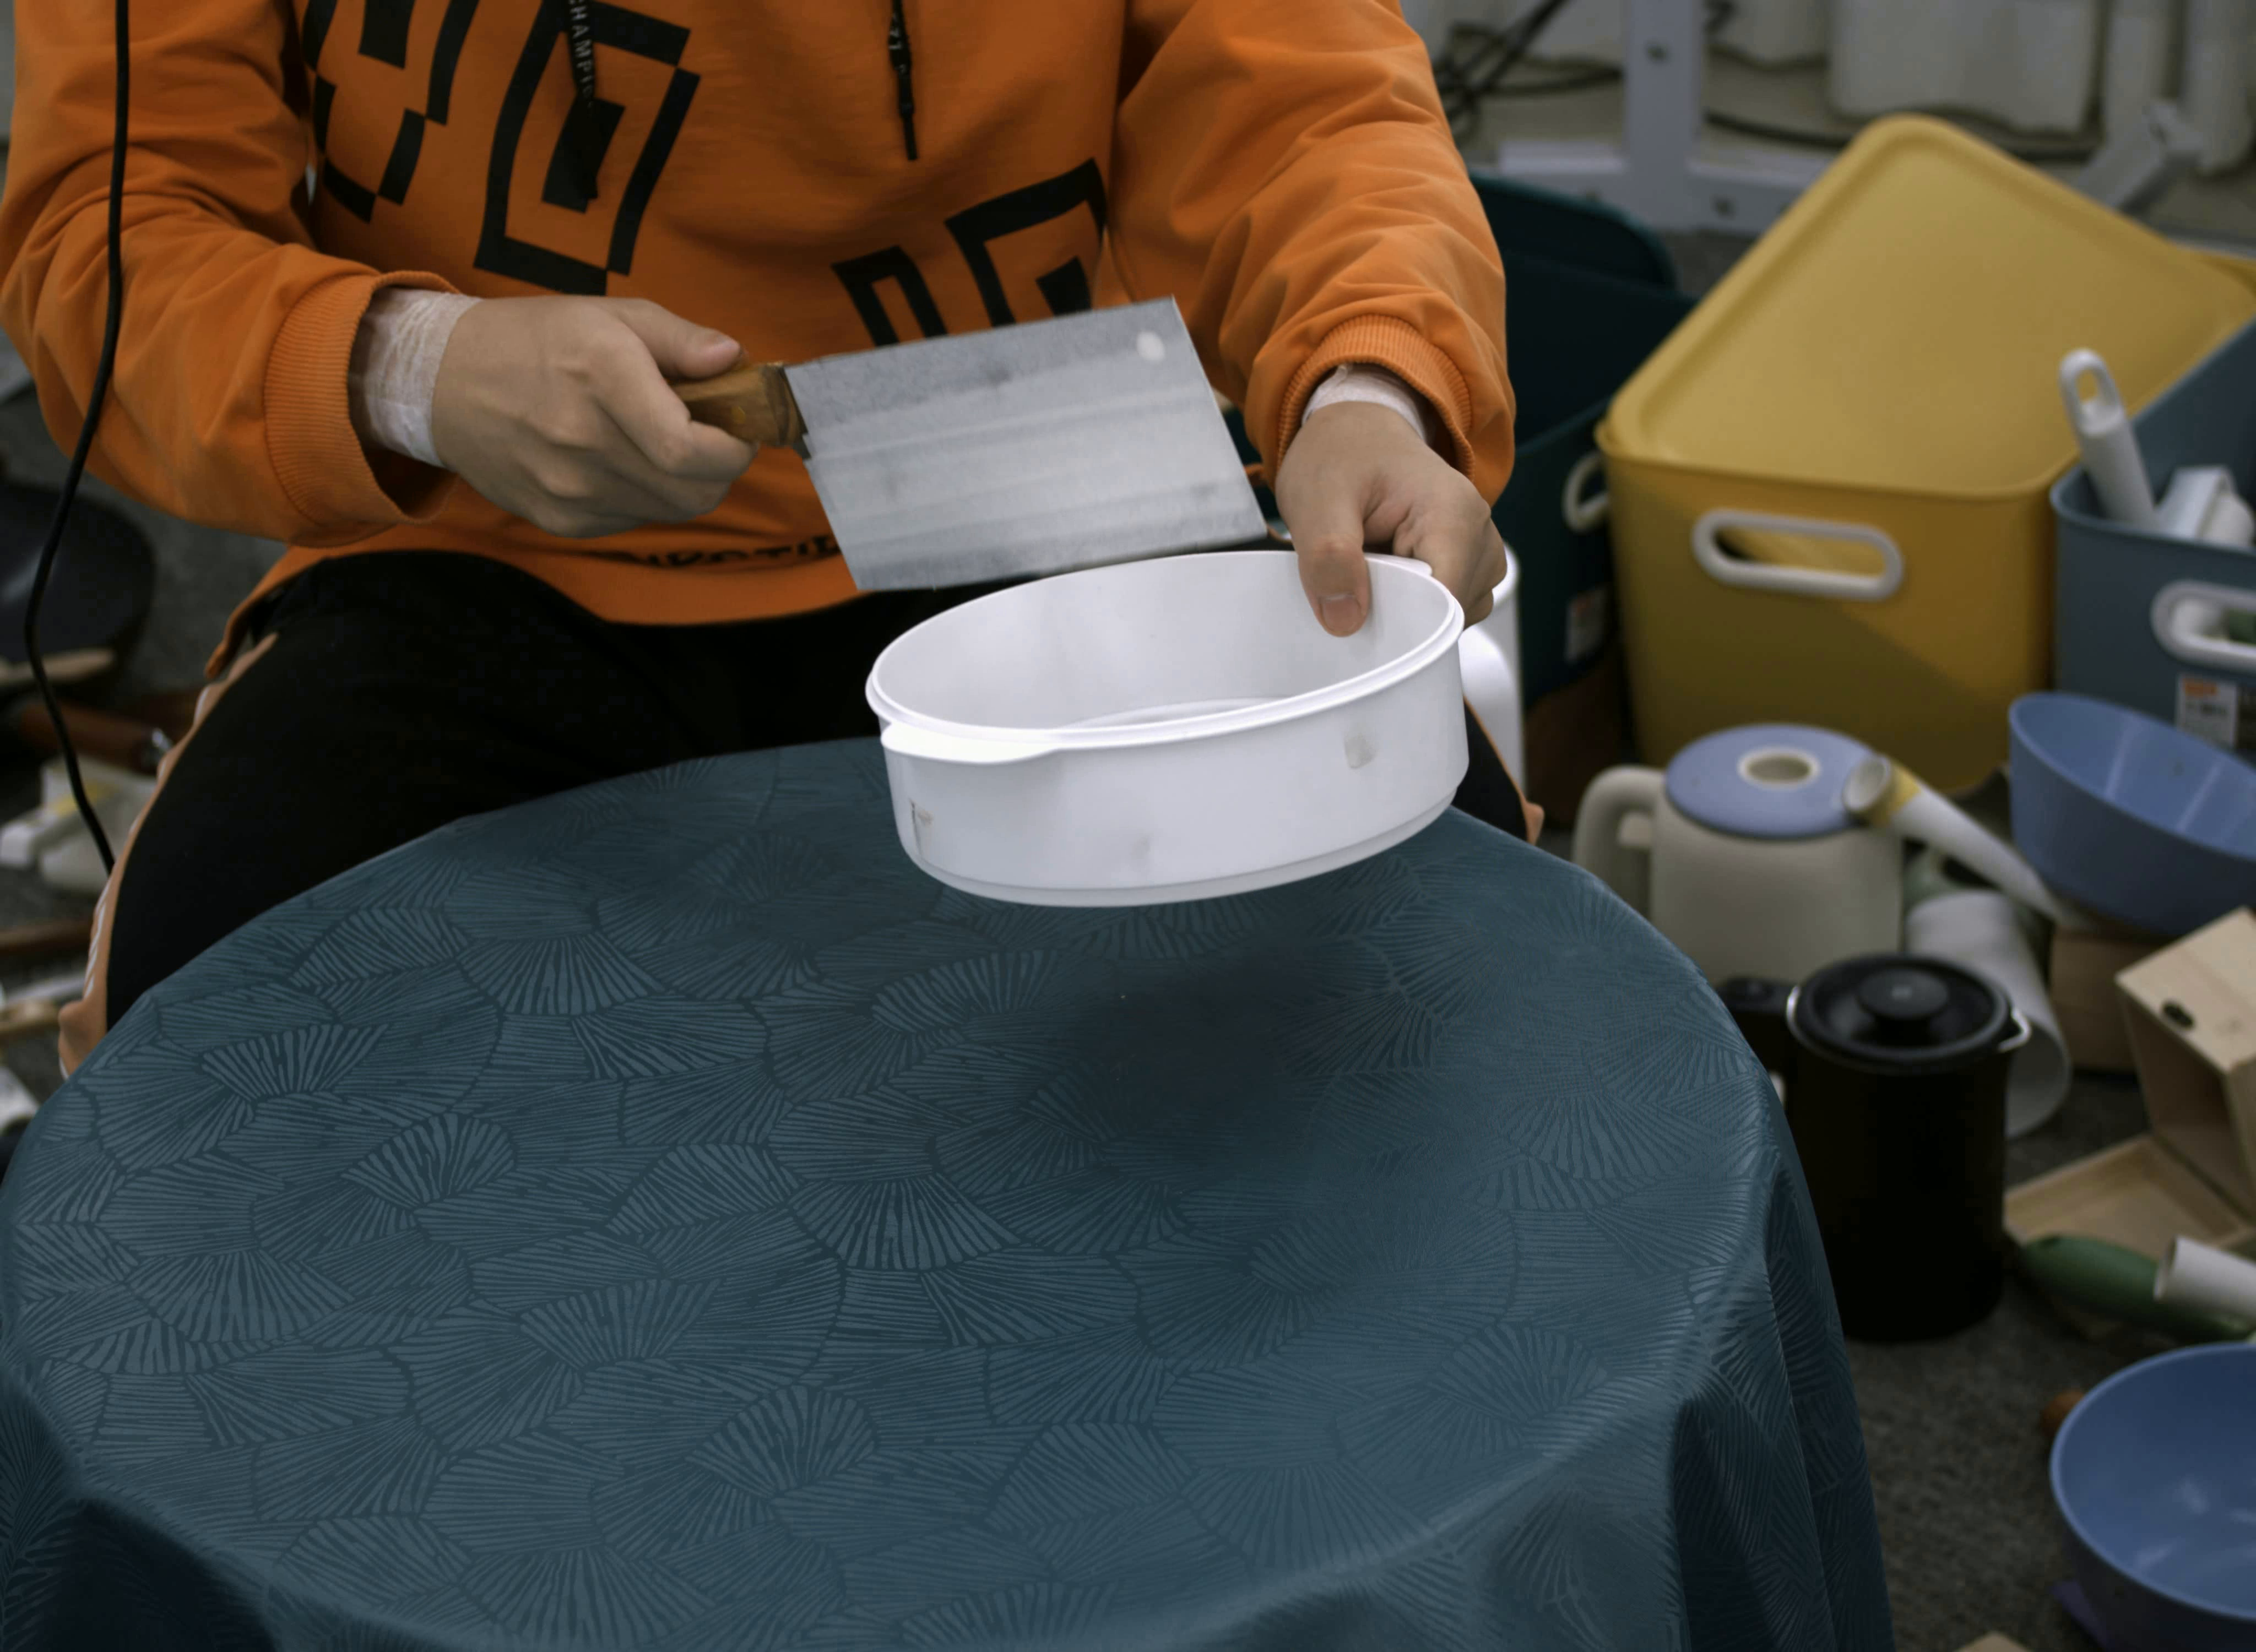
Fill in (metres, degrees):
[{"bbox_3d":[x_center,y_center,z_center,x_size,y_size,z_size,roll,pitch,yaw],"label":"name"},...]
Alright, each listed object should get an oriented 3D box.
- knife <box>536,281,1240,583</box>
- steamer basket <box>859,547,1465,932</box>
[{"bbox_3d":[-0.085,-0.129,1.971,0.302,0.092,0.021,-7,24,40],"label":"knife"},{"bbox_3d":[0.014,-0.028,1.874,0.200,0.069,0.234,7,26,39],"label":"steamer basket"}]
